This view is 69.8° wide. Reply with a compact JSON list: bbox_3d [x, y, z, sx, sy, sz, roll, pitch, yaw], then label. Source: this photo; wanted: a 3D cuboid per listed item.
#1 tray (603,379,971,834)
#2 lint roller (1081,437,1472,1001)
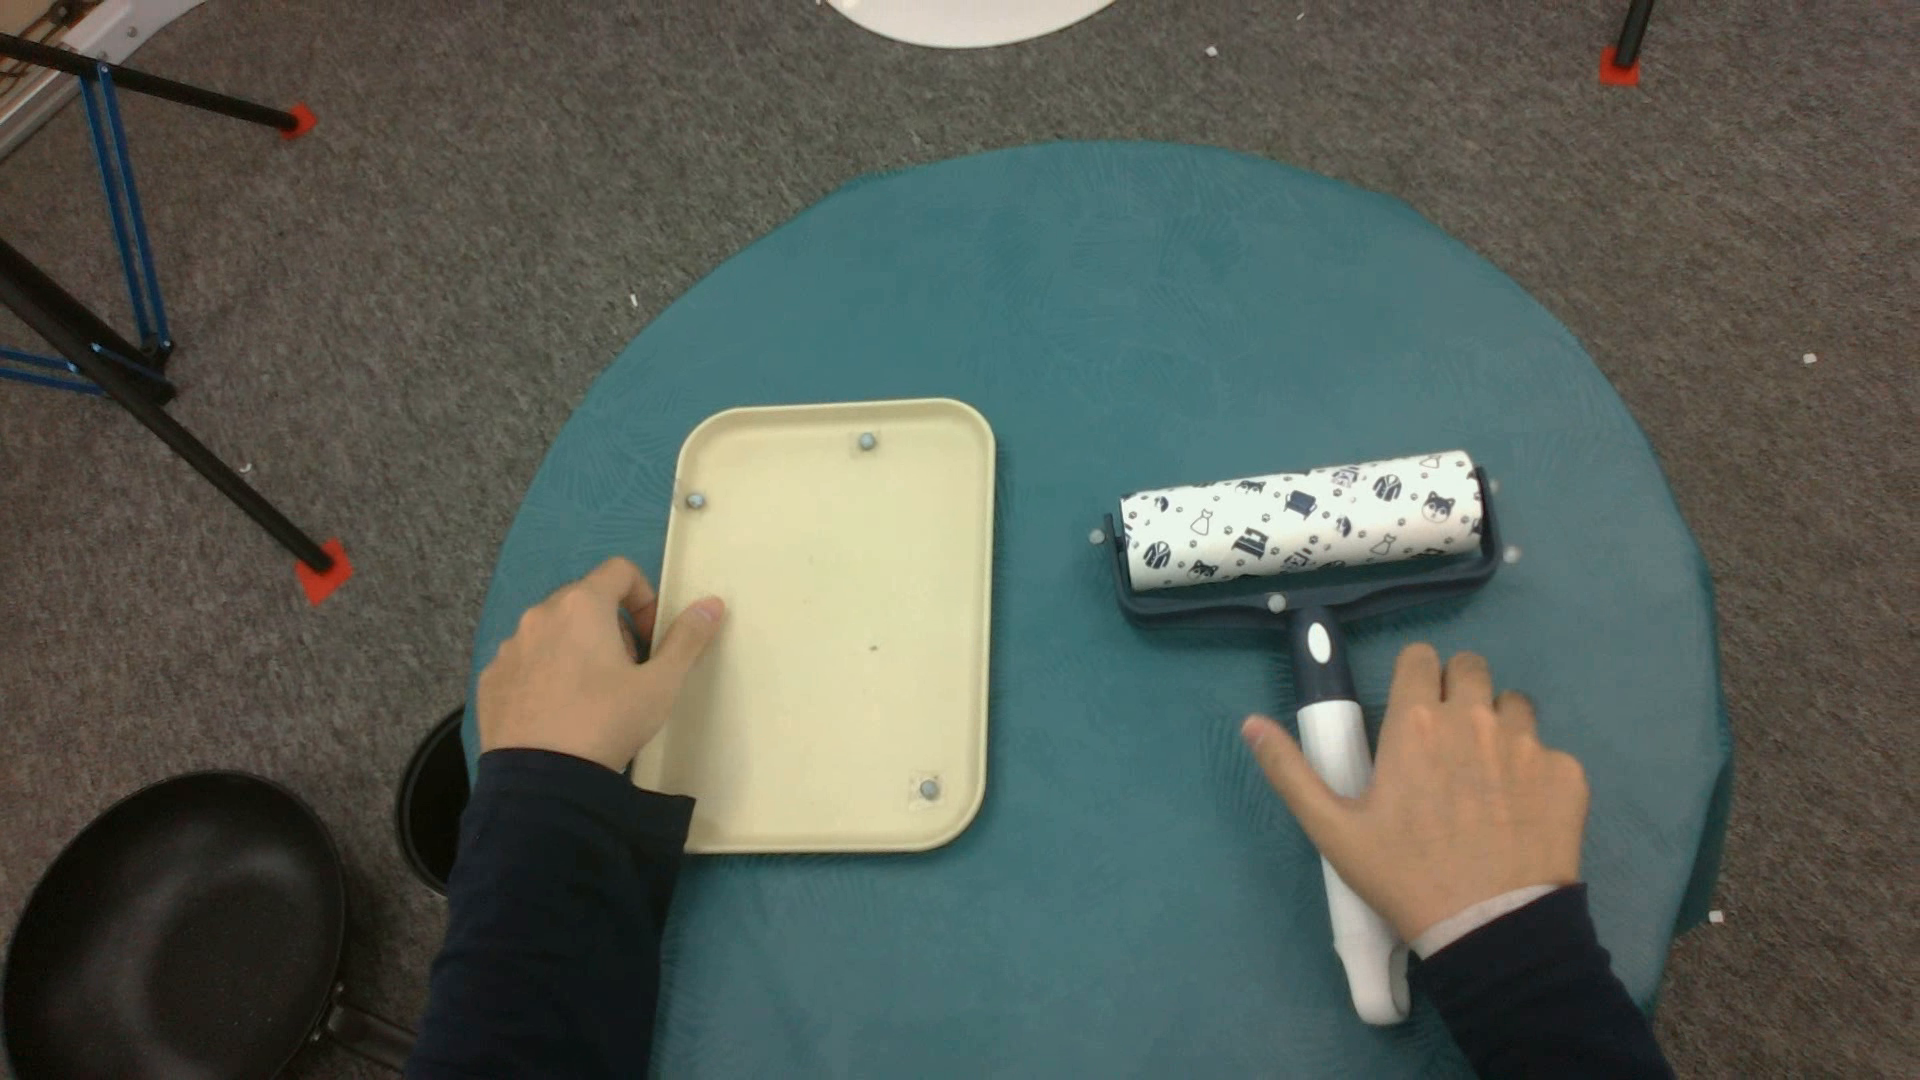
[{"bbox_3d":[-0.080,0.028,0.681,0.171,0.017,0.240,-1,64,7],"label":"tray"},{"bbox_3d":[0.157,0.074,0.612,0.176,0.050,0.248,-8,65,3],"label":"lint roller"}]
